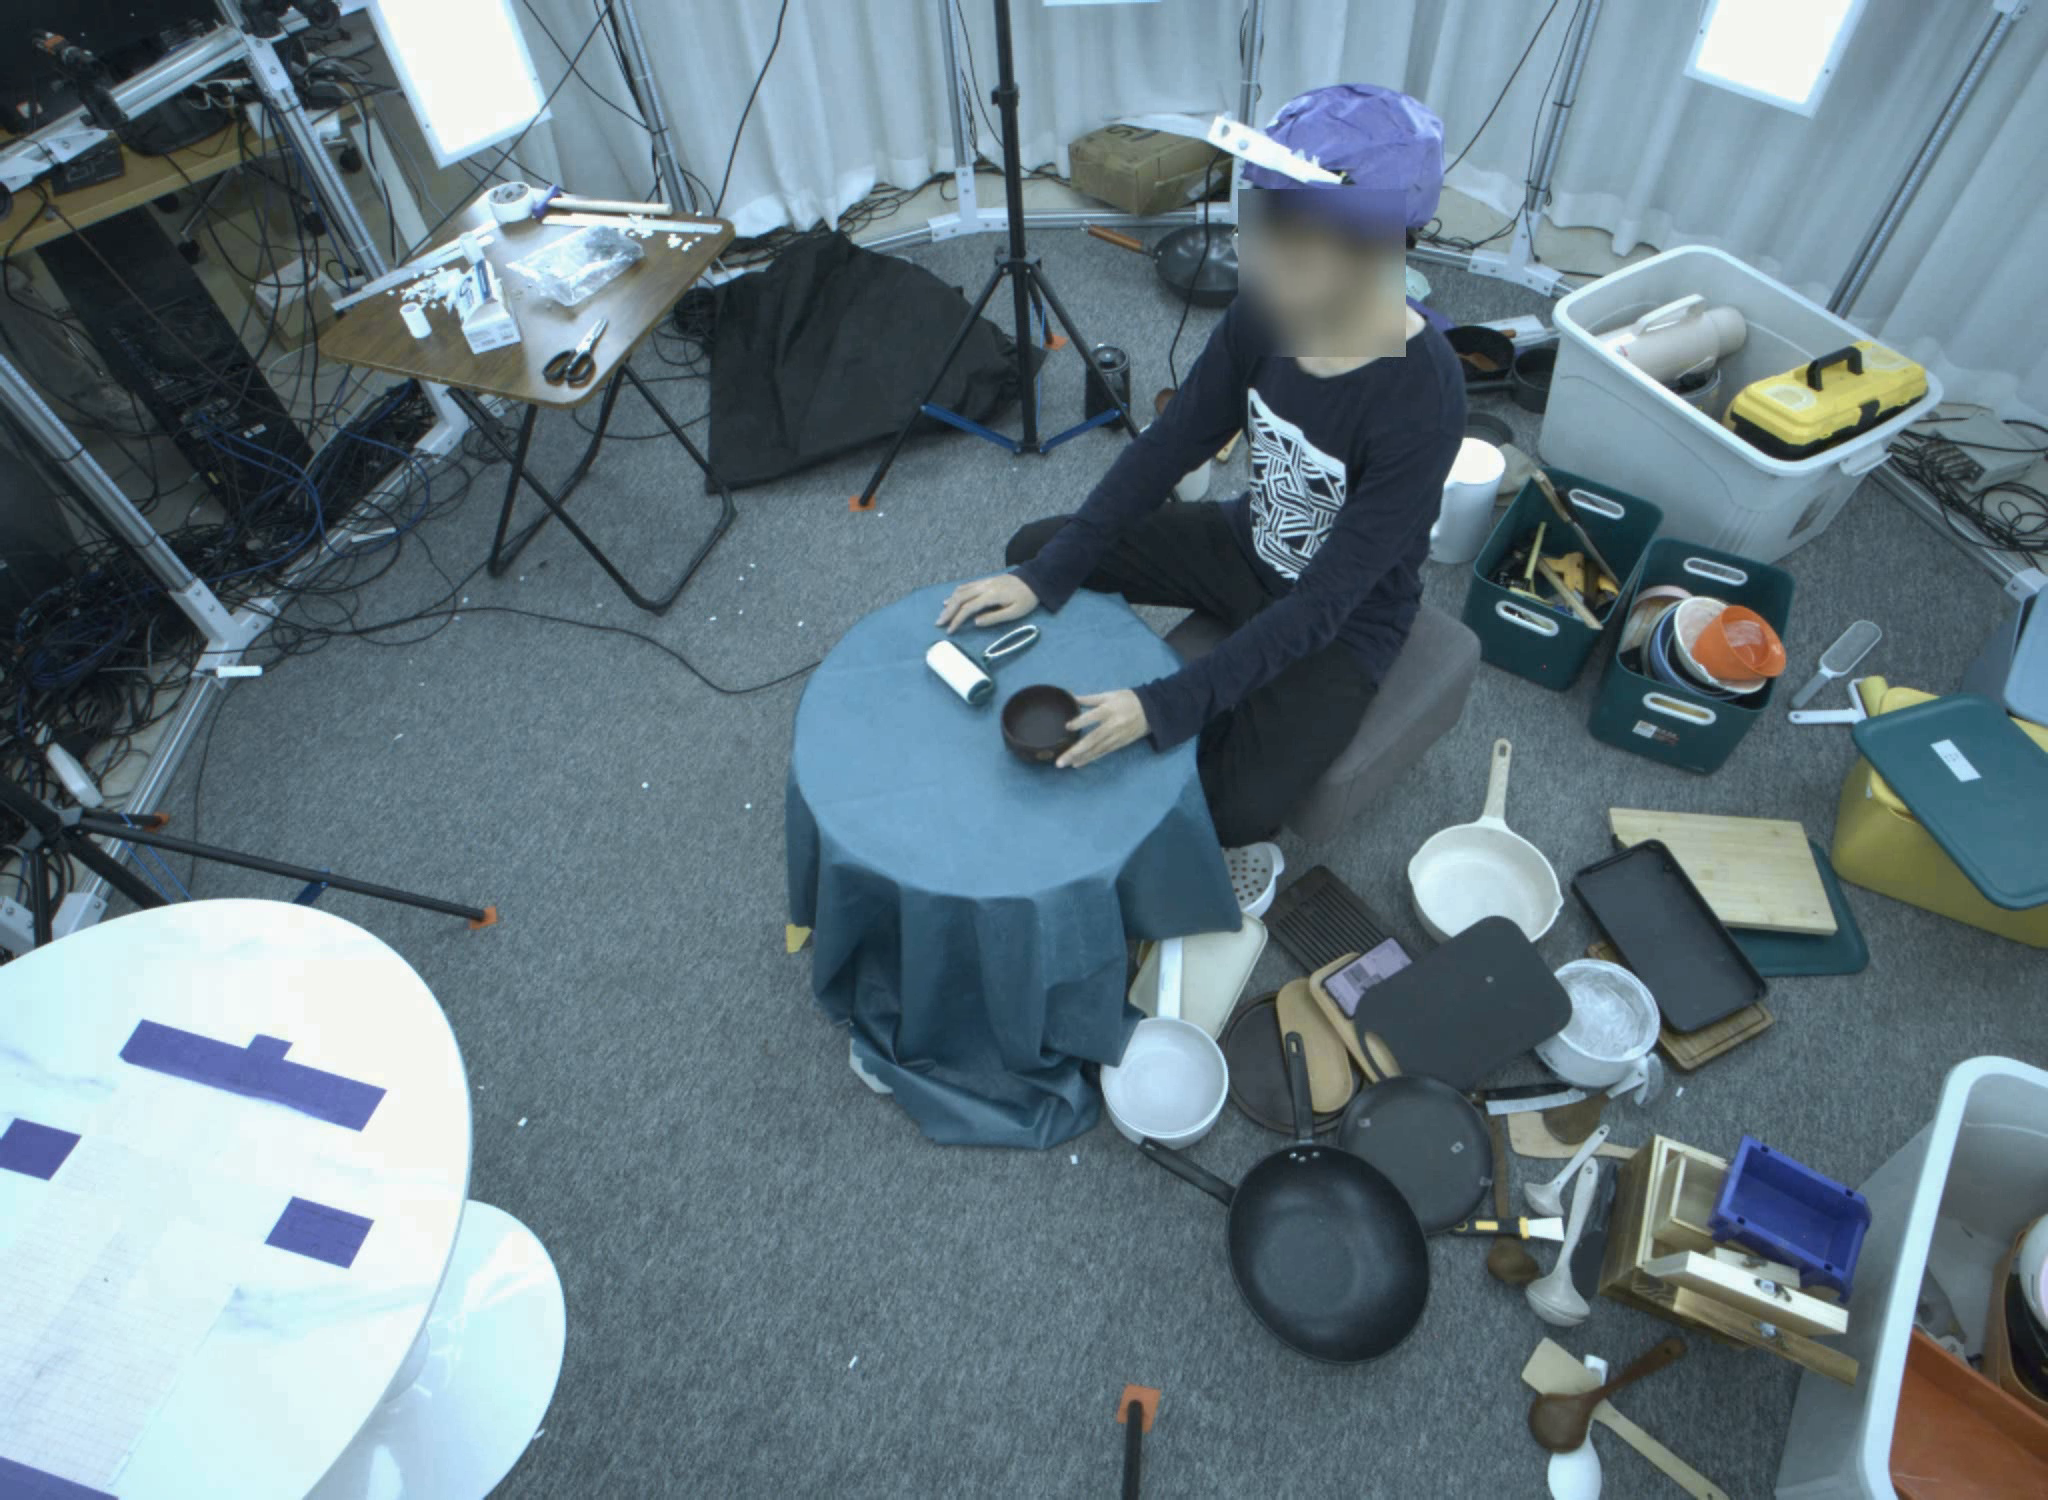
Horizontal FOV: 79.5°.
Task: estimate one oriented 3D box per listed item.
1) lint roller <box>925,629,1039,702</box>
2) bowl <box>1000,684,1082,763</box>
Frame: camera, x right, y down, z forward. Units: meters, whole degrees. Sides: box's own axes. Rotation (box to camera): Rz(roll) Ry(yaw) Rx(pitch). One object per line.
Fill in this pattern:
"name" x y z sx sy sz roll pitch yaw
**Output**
"lint roller" -0.048 -0.153 1.881 0.182 0.049 0.132 -34 60 -24
"bowl" 0.025 -0.031 1.772 0.118 0.070 0.117 0 51 2
